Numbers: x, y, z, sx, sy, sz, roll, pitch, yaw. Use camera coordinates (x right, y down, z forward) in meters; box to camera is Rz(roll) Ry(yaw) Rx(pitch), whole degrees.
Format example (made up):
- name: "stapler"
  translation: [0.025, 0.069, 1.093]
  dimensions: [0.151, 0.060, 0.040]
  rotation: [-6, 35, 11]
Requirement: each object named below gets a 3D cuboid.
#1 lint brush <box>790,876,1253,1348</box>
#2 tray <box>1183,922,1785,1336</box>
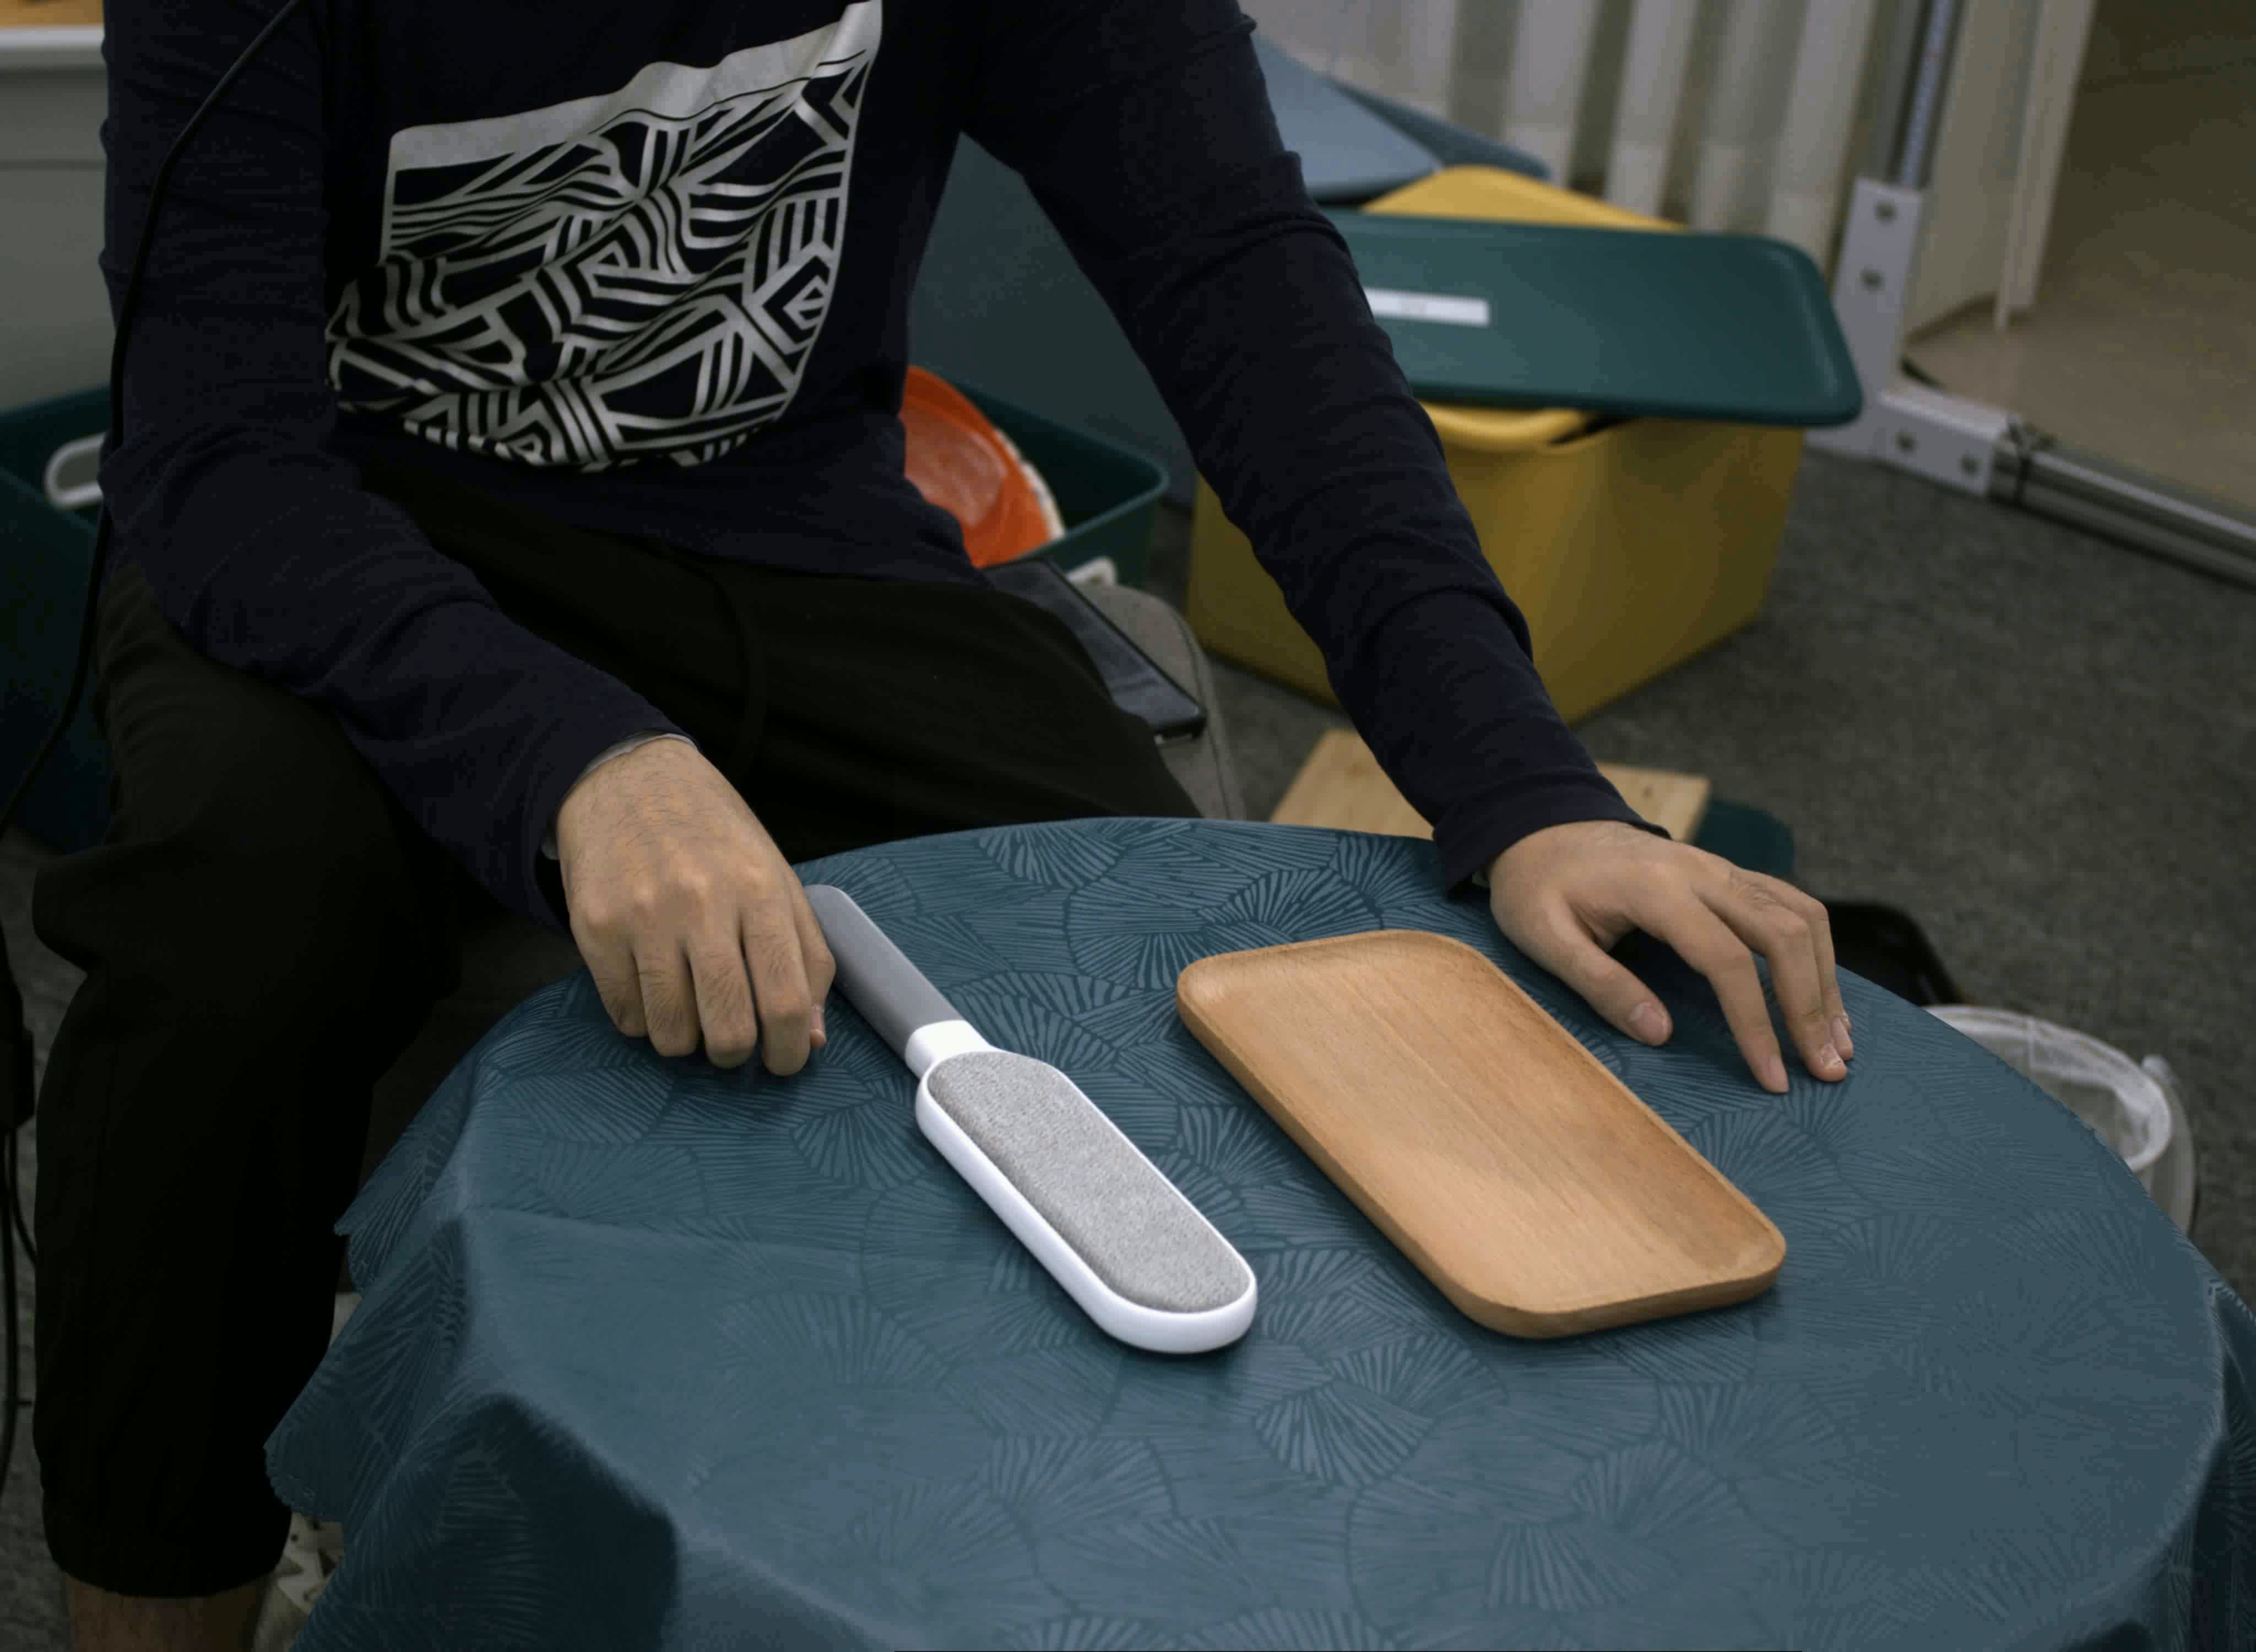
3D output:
- name: "lint brush"
  translation: [-0.044, 0.093, 1.826]
  dimensions: [0.060, 0.021, 0.312]
  rotation: [-13, 32, -24]
- name: "tray"
  translation: [0.120, 0.103, 1.855]
  dimensions: [0.129, 0.023, 0.253]
  rotation: [-4, 28, -25]
